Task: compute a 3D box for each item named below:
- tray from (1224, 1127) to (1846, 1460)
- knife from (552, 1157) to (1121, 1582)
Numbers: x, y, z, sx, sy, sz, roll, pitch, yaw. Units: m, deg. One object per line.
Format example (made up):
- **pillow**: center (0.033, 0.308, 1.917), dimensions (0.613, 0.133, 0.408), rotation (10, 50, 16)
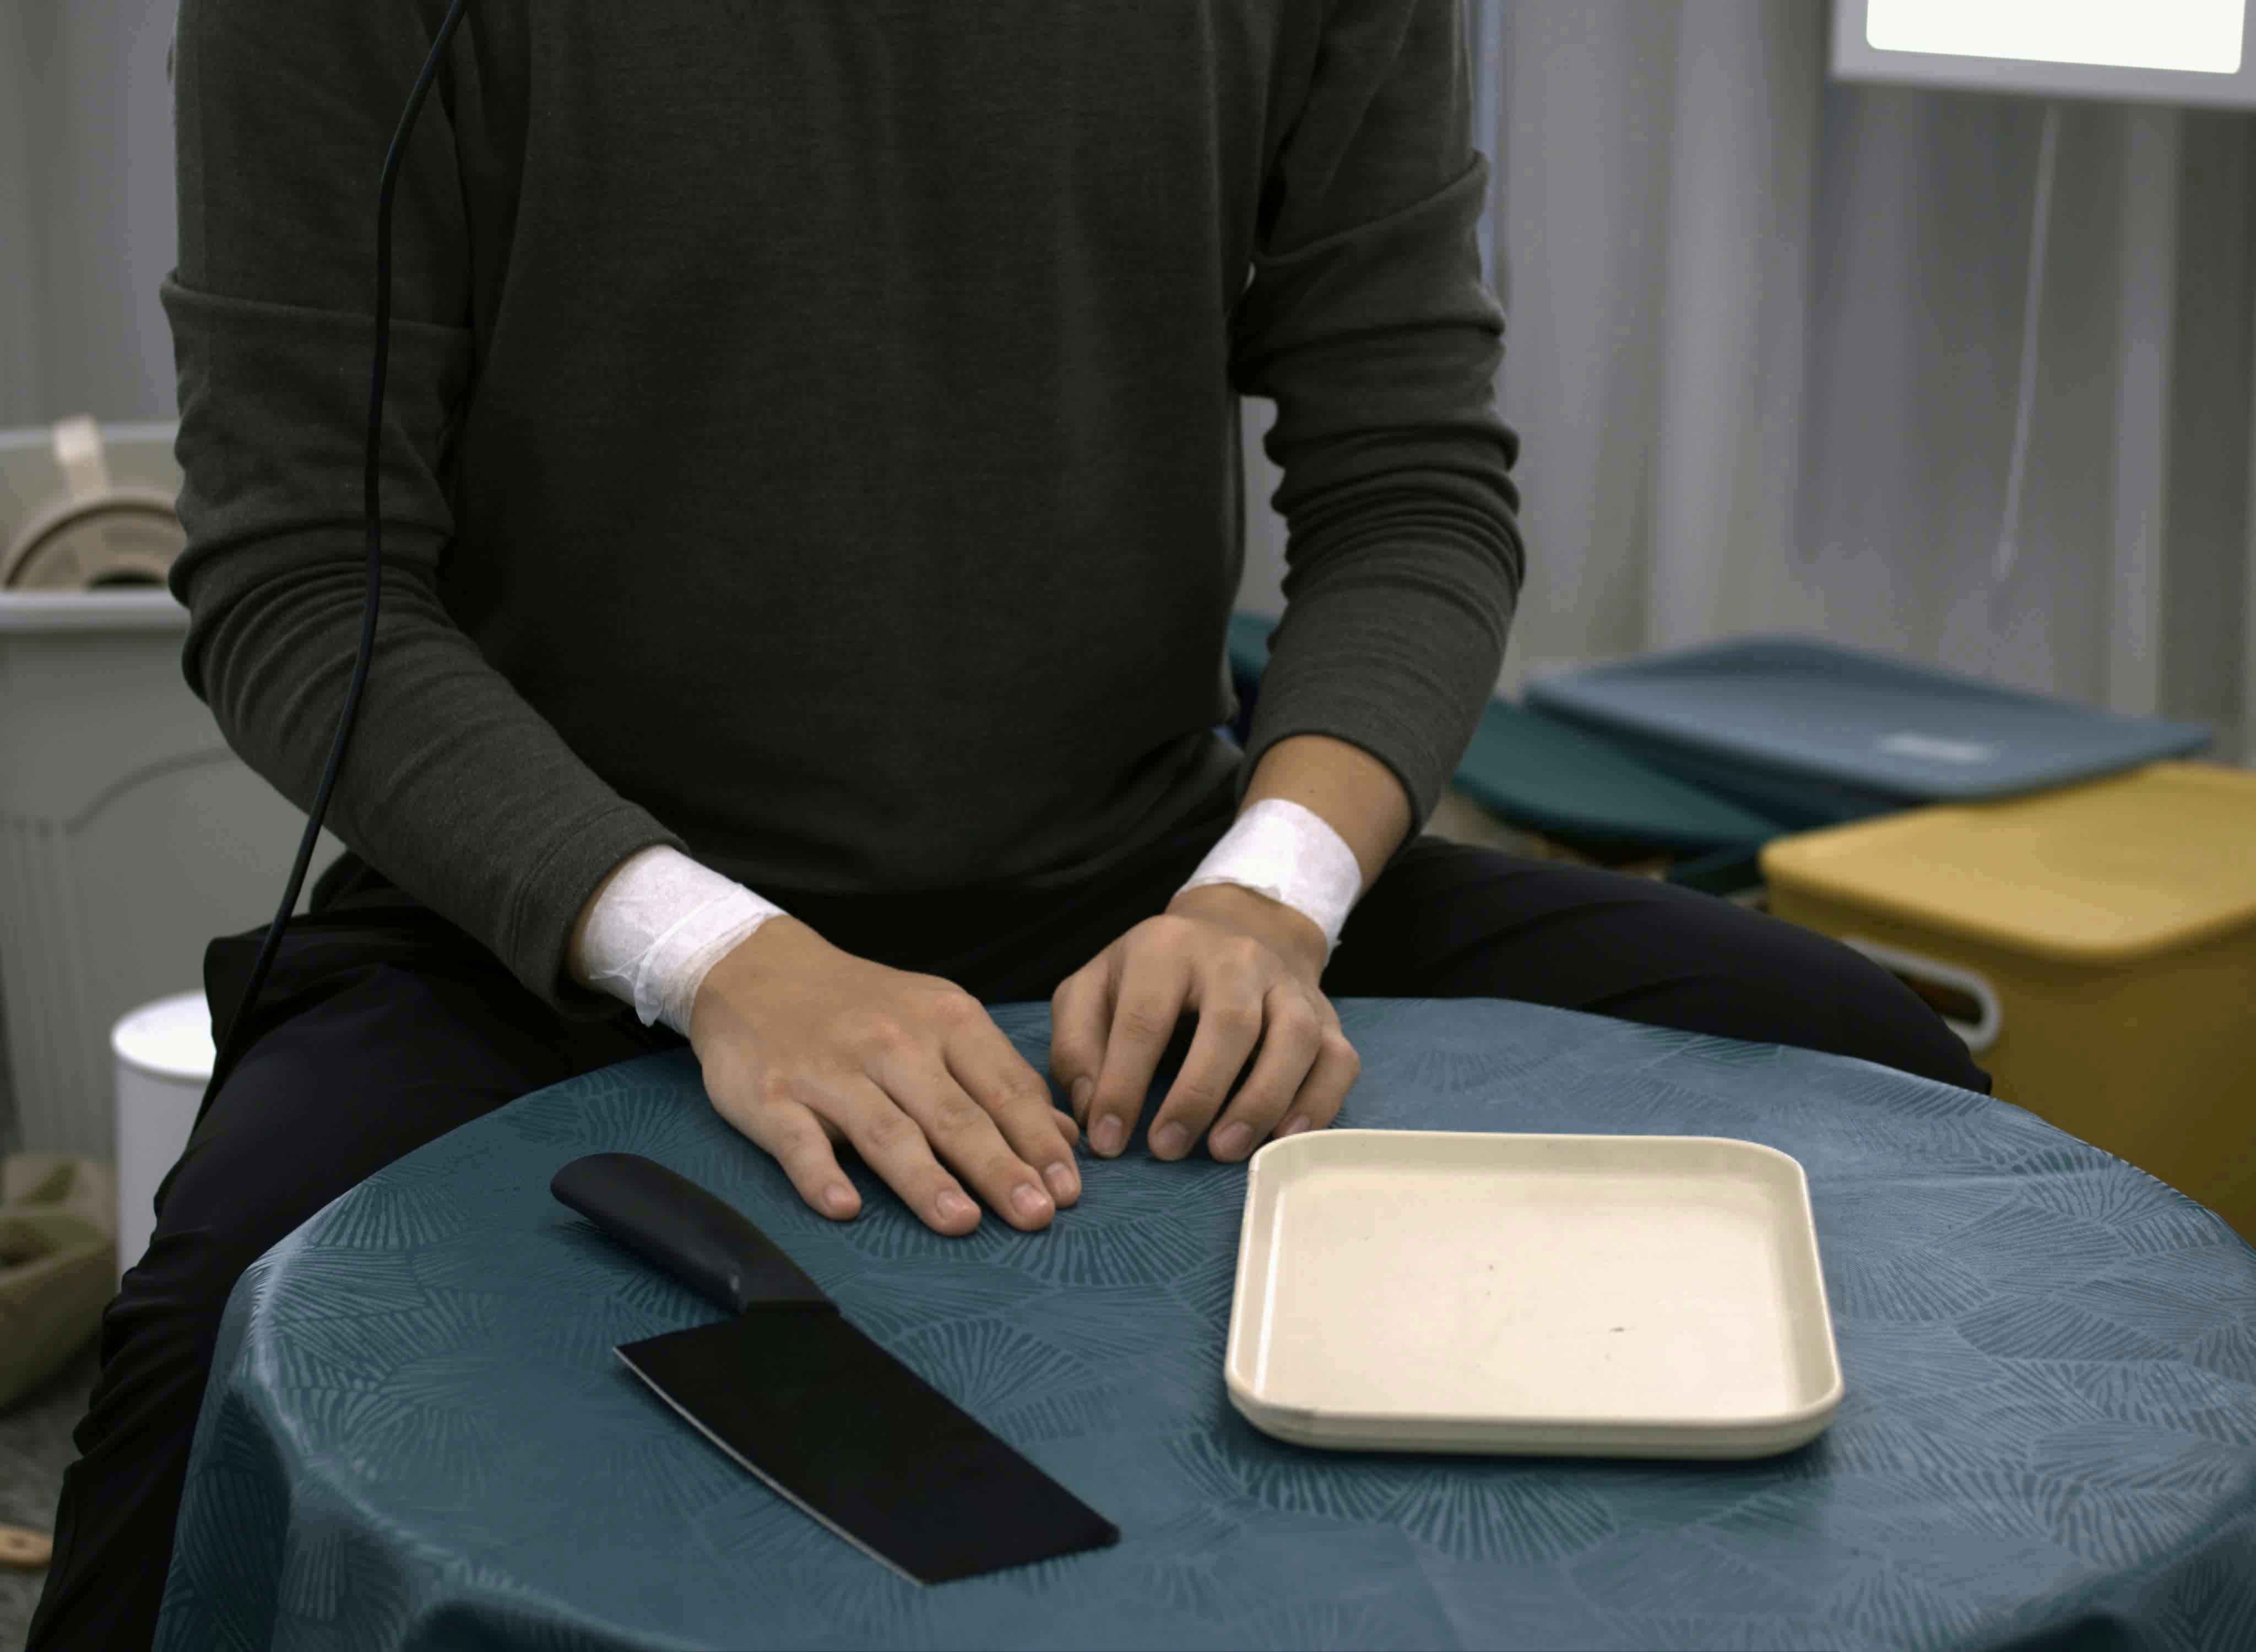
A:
- **tray**: center (0.115, 0.133, 1.519), dimensions (0.170, 0.017, 0.238), rotation (2, 15, 3)
- **knife**: center (-0.098, 0.148, 1.466), dimensions (0.081, 0.021, 0.298), rotation (-8, 19, -24)
